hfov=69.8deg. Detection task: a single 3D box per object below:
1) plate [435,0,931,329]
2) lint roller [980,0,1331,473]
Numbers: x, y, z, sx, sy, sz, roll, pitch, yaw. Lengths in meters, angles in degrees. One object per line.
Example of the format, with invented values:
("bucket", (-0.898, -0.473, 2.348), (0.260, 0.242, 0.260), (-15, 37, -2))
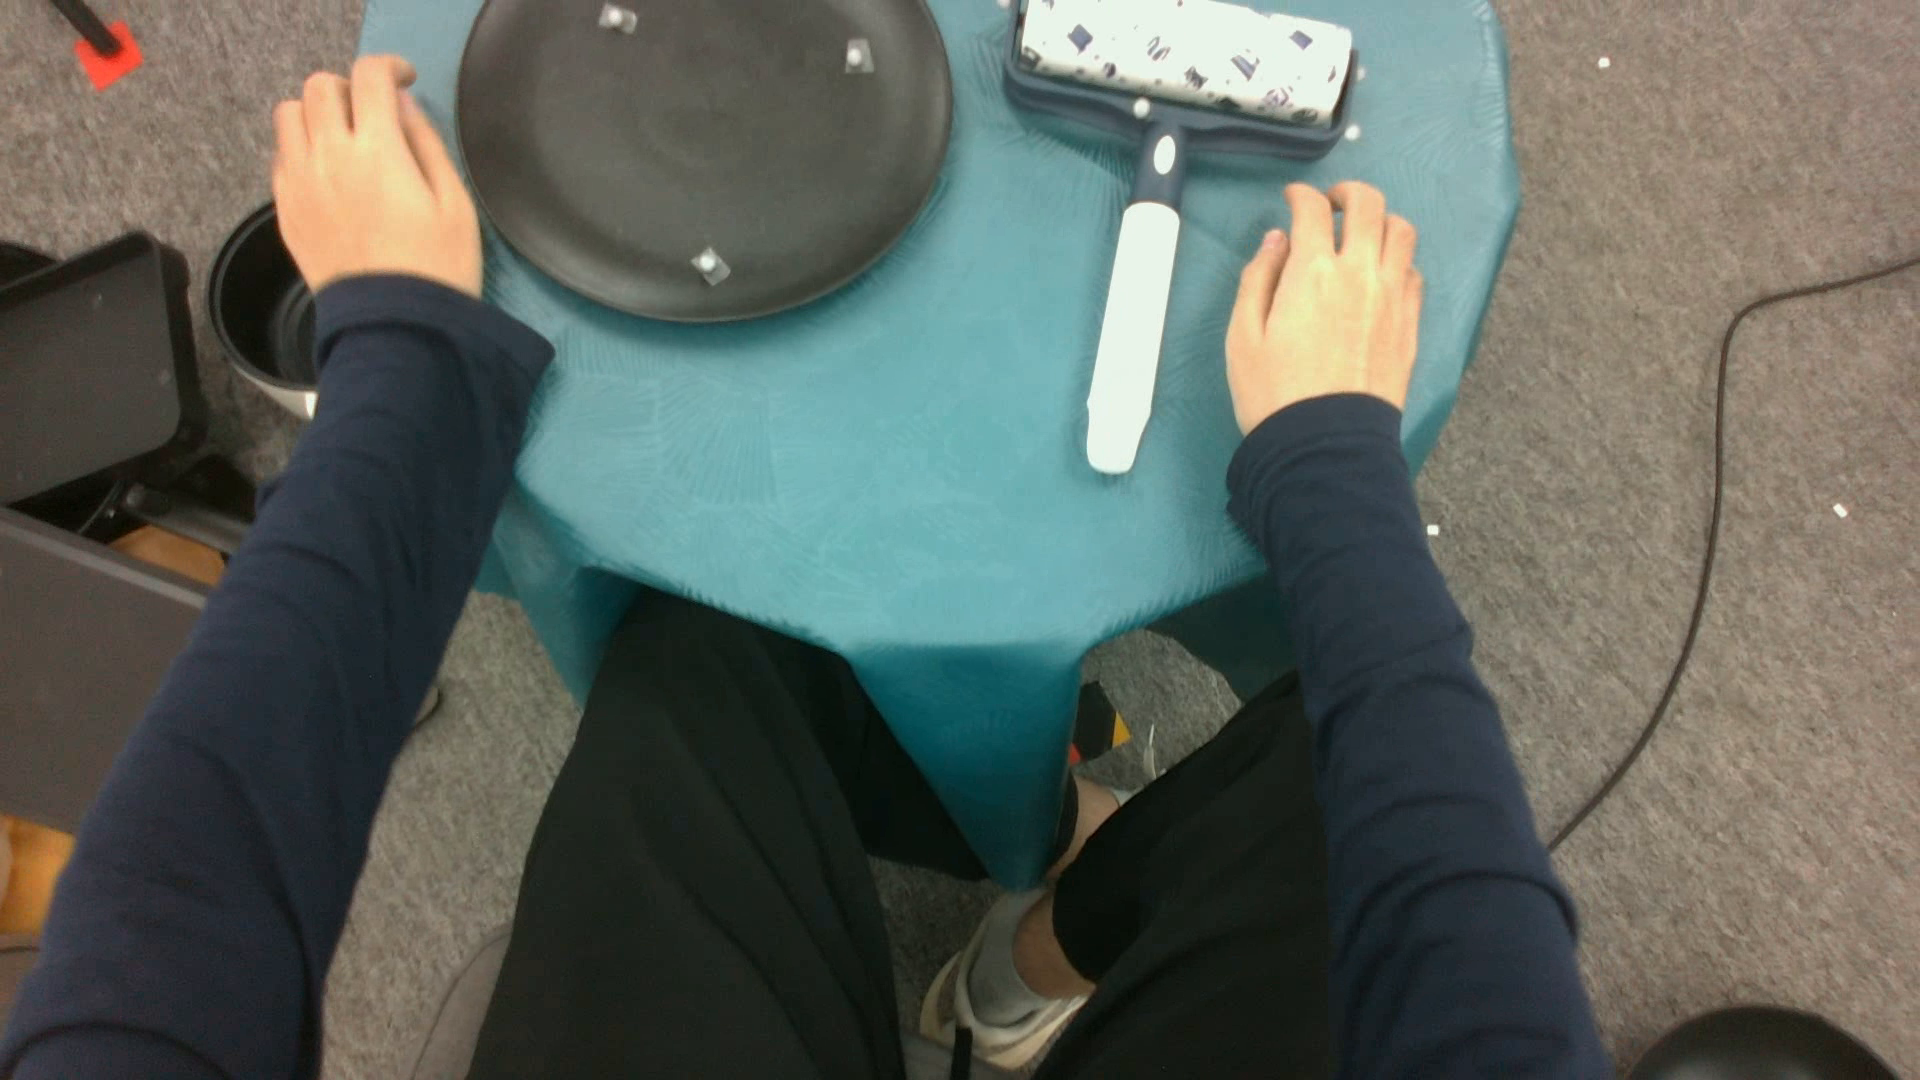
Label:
("plate", (-0.136, -0.215, 0.694), (0.244, 0.023, 0.245), (1, 74, -4))
("lint roller", (0.083, -0.153, 0.680), (0.176, 0.050, 0.247), (11, 74, -1))
